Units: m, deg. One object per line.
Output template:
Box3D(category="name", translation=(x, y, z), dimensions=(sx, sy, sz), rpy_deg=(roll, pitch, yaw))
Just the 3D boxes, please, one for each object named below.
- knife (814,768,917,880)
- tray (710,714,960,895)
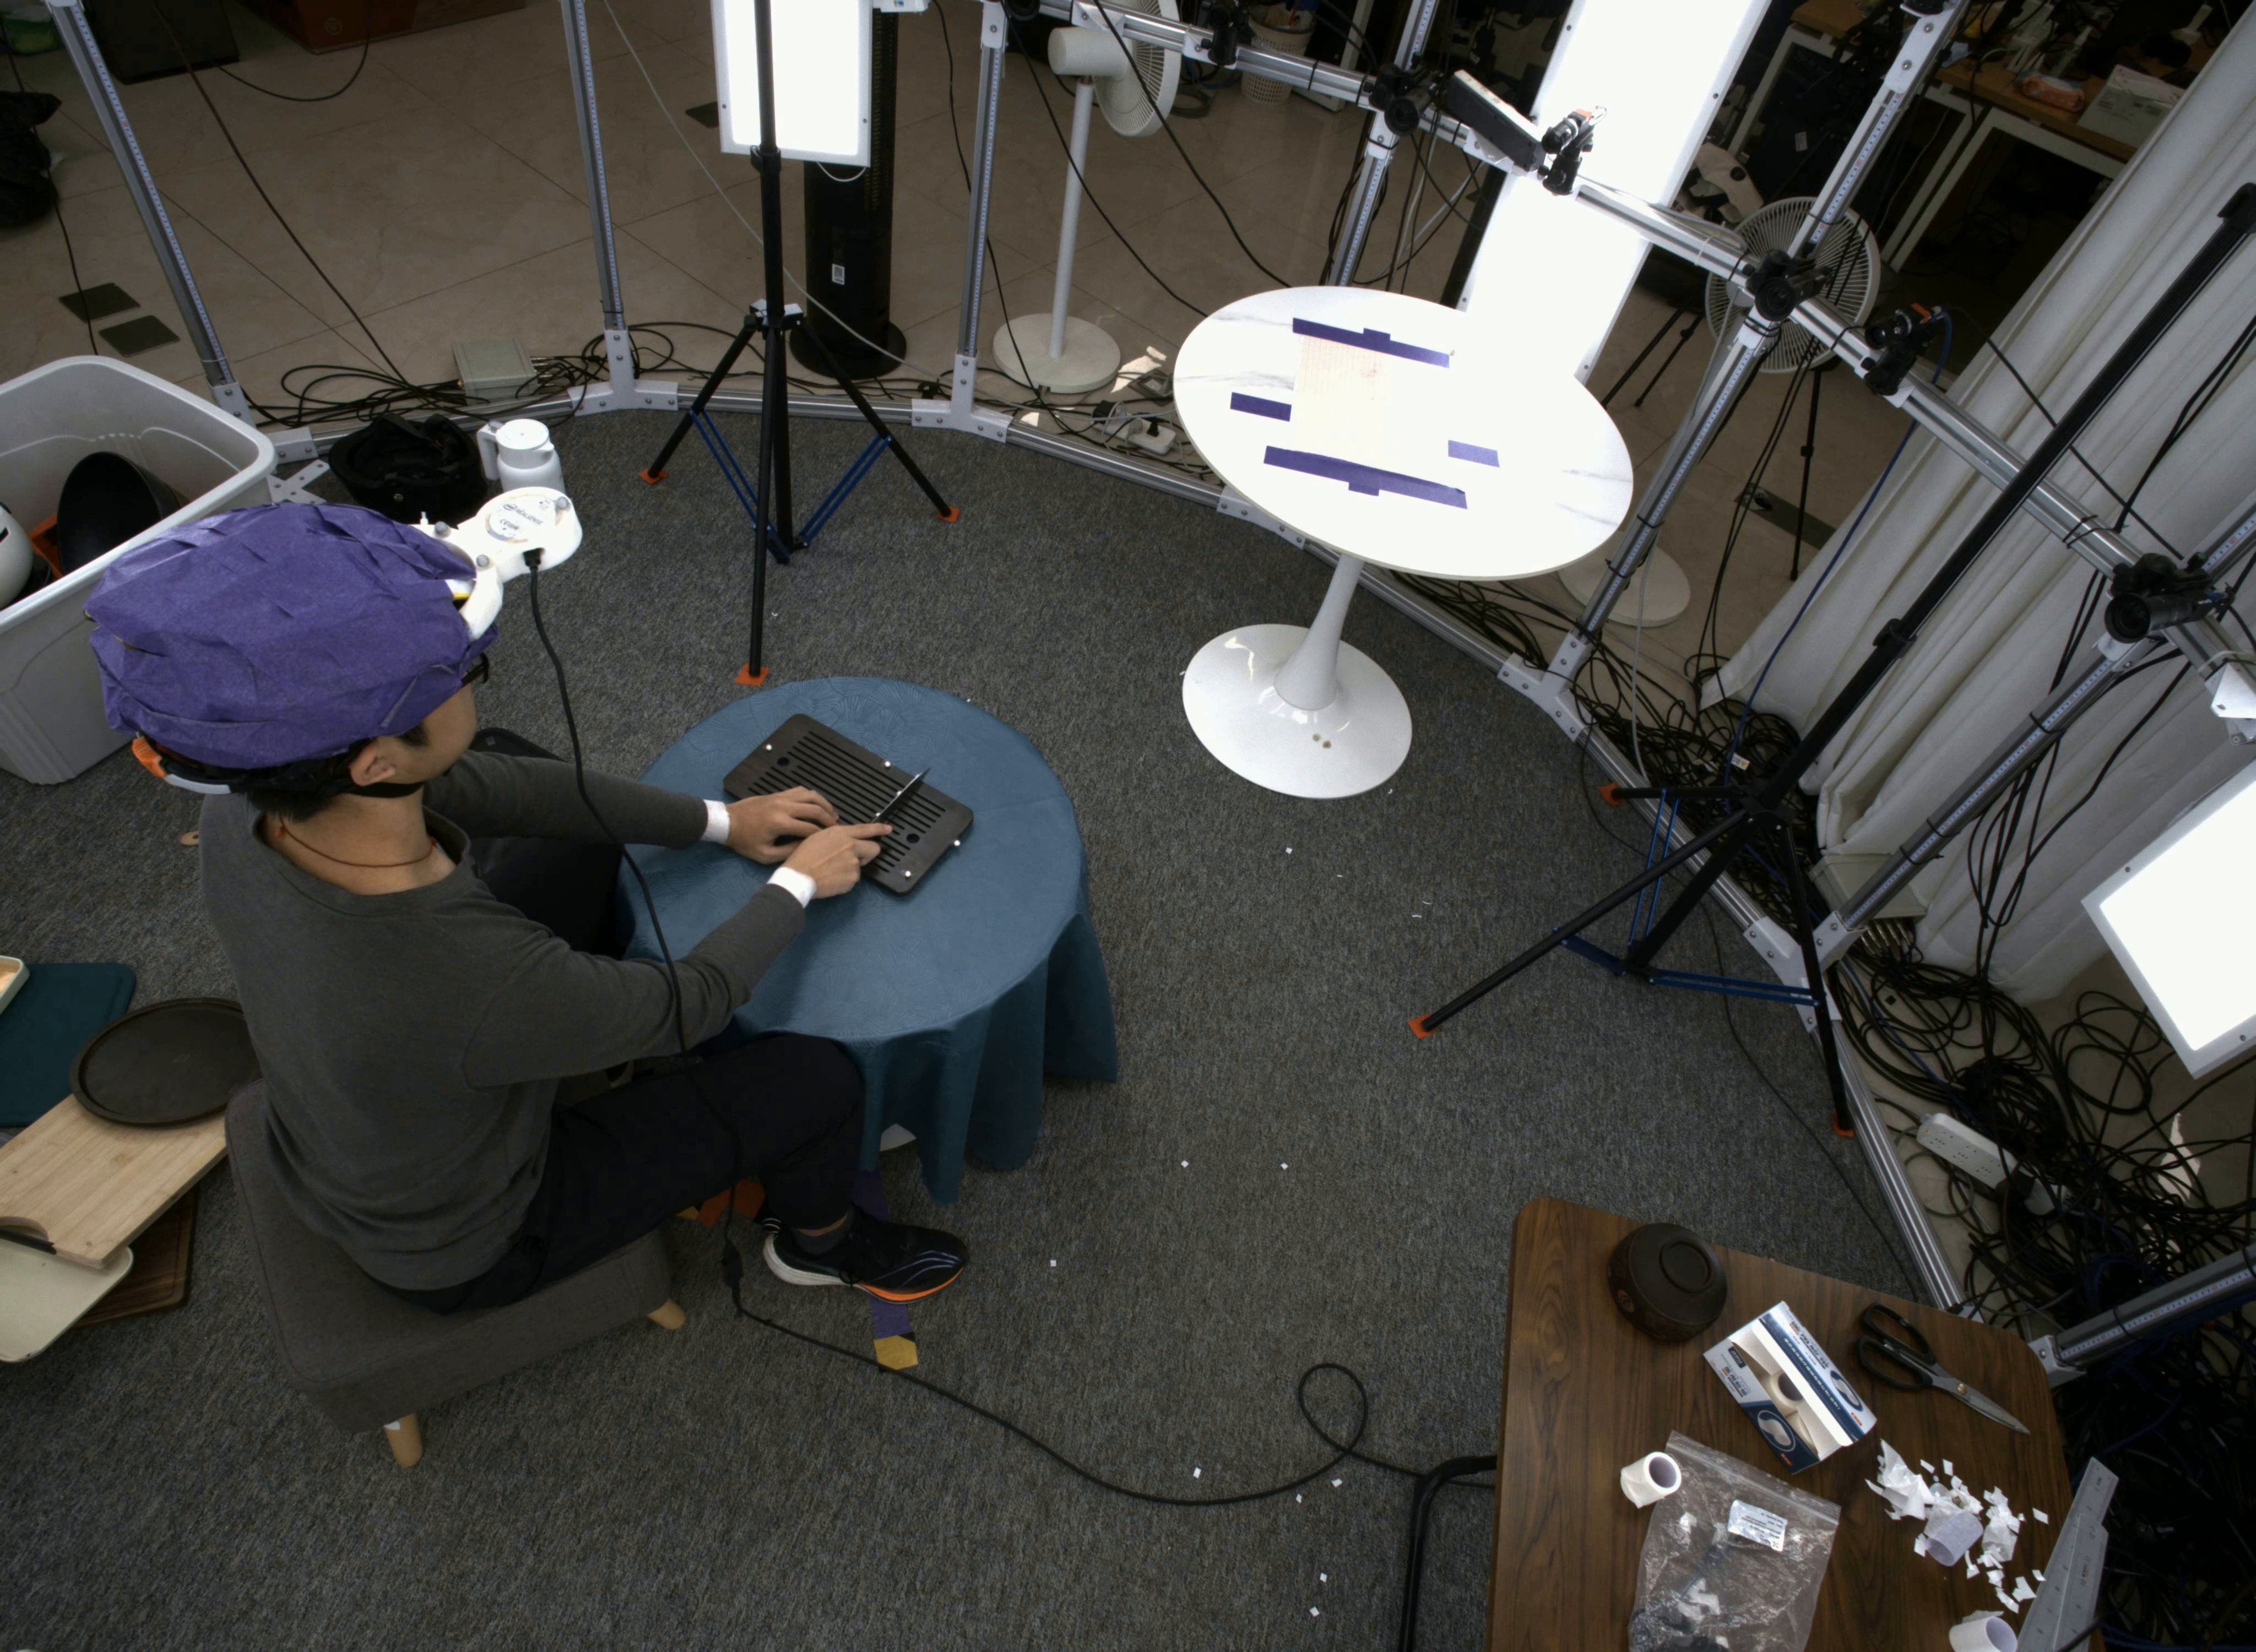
Box3D(category="knife", translation=(-0.344, -0.011, 1.721), dimensions=(0.016, 0.025, 0.237), rpy_deg=(21, 46, 16))
Box3D(category="tray", translation=(-0.395, -0.032, 1.755), dimensions=(0.301, 0.019, 0.169), rpy_deg=(29, 53, 8))
